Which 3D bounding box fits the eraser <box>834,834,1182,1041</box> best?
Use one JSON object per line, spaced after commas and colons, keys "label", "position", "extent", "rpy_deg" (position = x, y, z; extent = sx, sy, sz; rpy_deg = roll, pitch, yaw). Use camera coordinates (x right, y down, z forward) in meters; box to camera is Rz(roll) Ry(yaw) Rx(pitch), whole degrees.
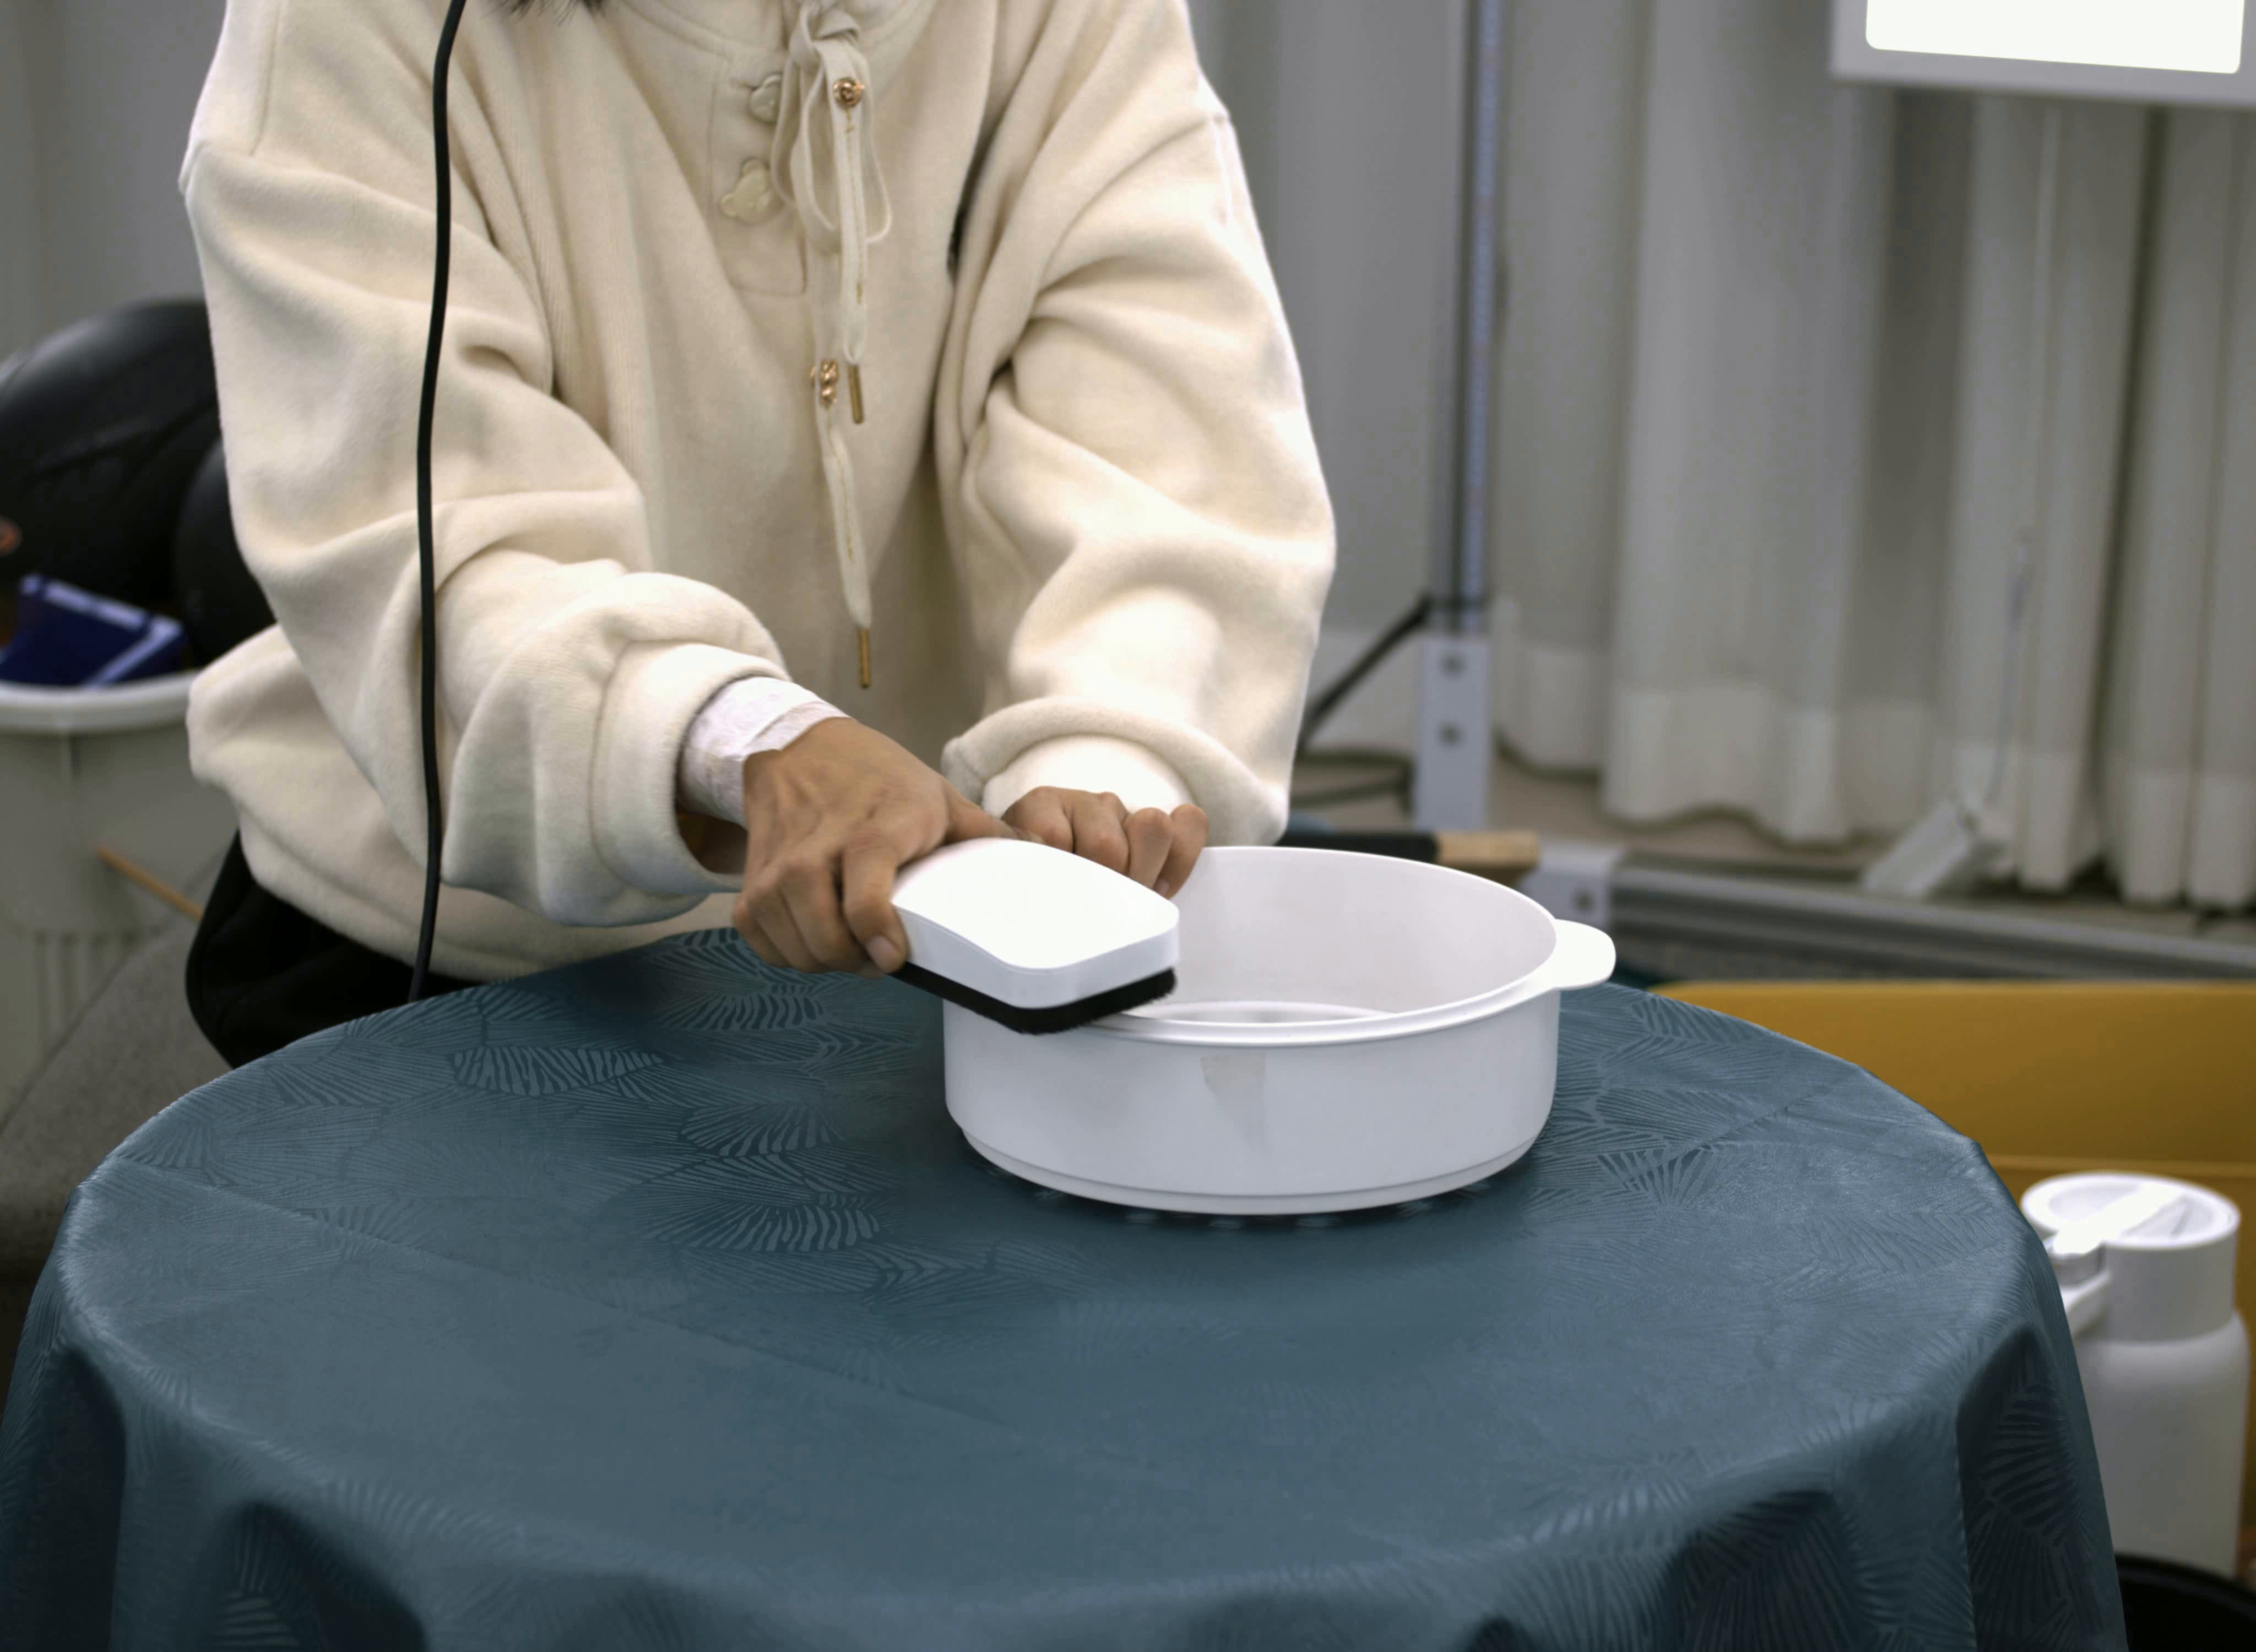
{"label": "eraser", "position": [-0.036, 0.031, 1.603], "extent": [0.063, 0.035, 0.129], "rpy_deg": [-17, 21, -28]}

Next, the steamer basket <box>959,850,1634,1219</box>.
{"label": "steamer basket", "position": [0.044, 0.065, 1.667], "extent": [0.229, 0.070, 0.201], "rpy_deg": [3, 15, 4]}
